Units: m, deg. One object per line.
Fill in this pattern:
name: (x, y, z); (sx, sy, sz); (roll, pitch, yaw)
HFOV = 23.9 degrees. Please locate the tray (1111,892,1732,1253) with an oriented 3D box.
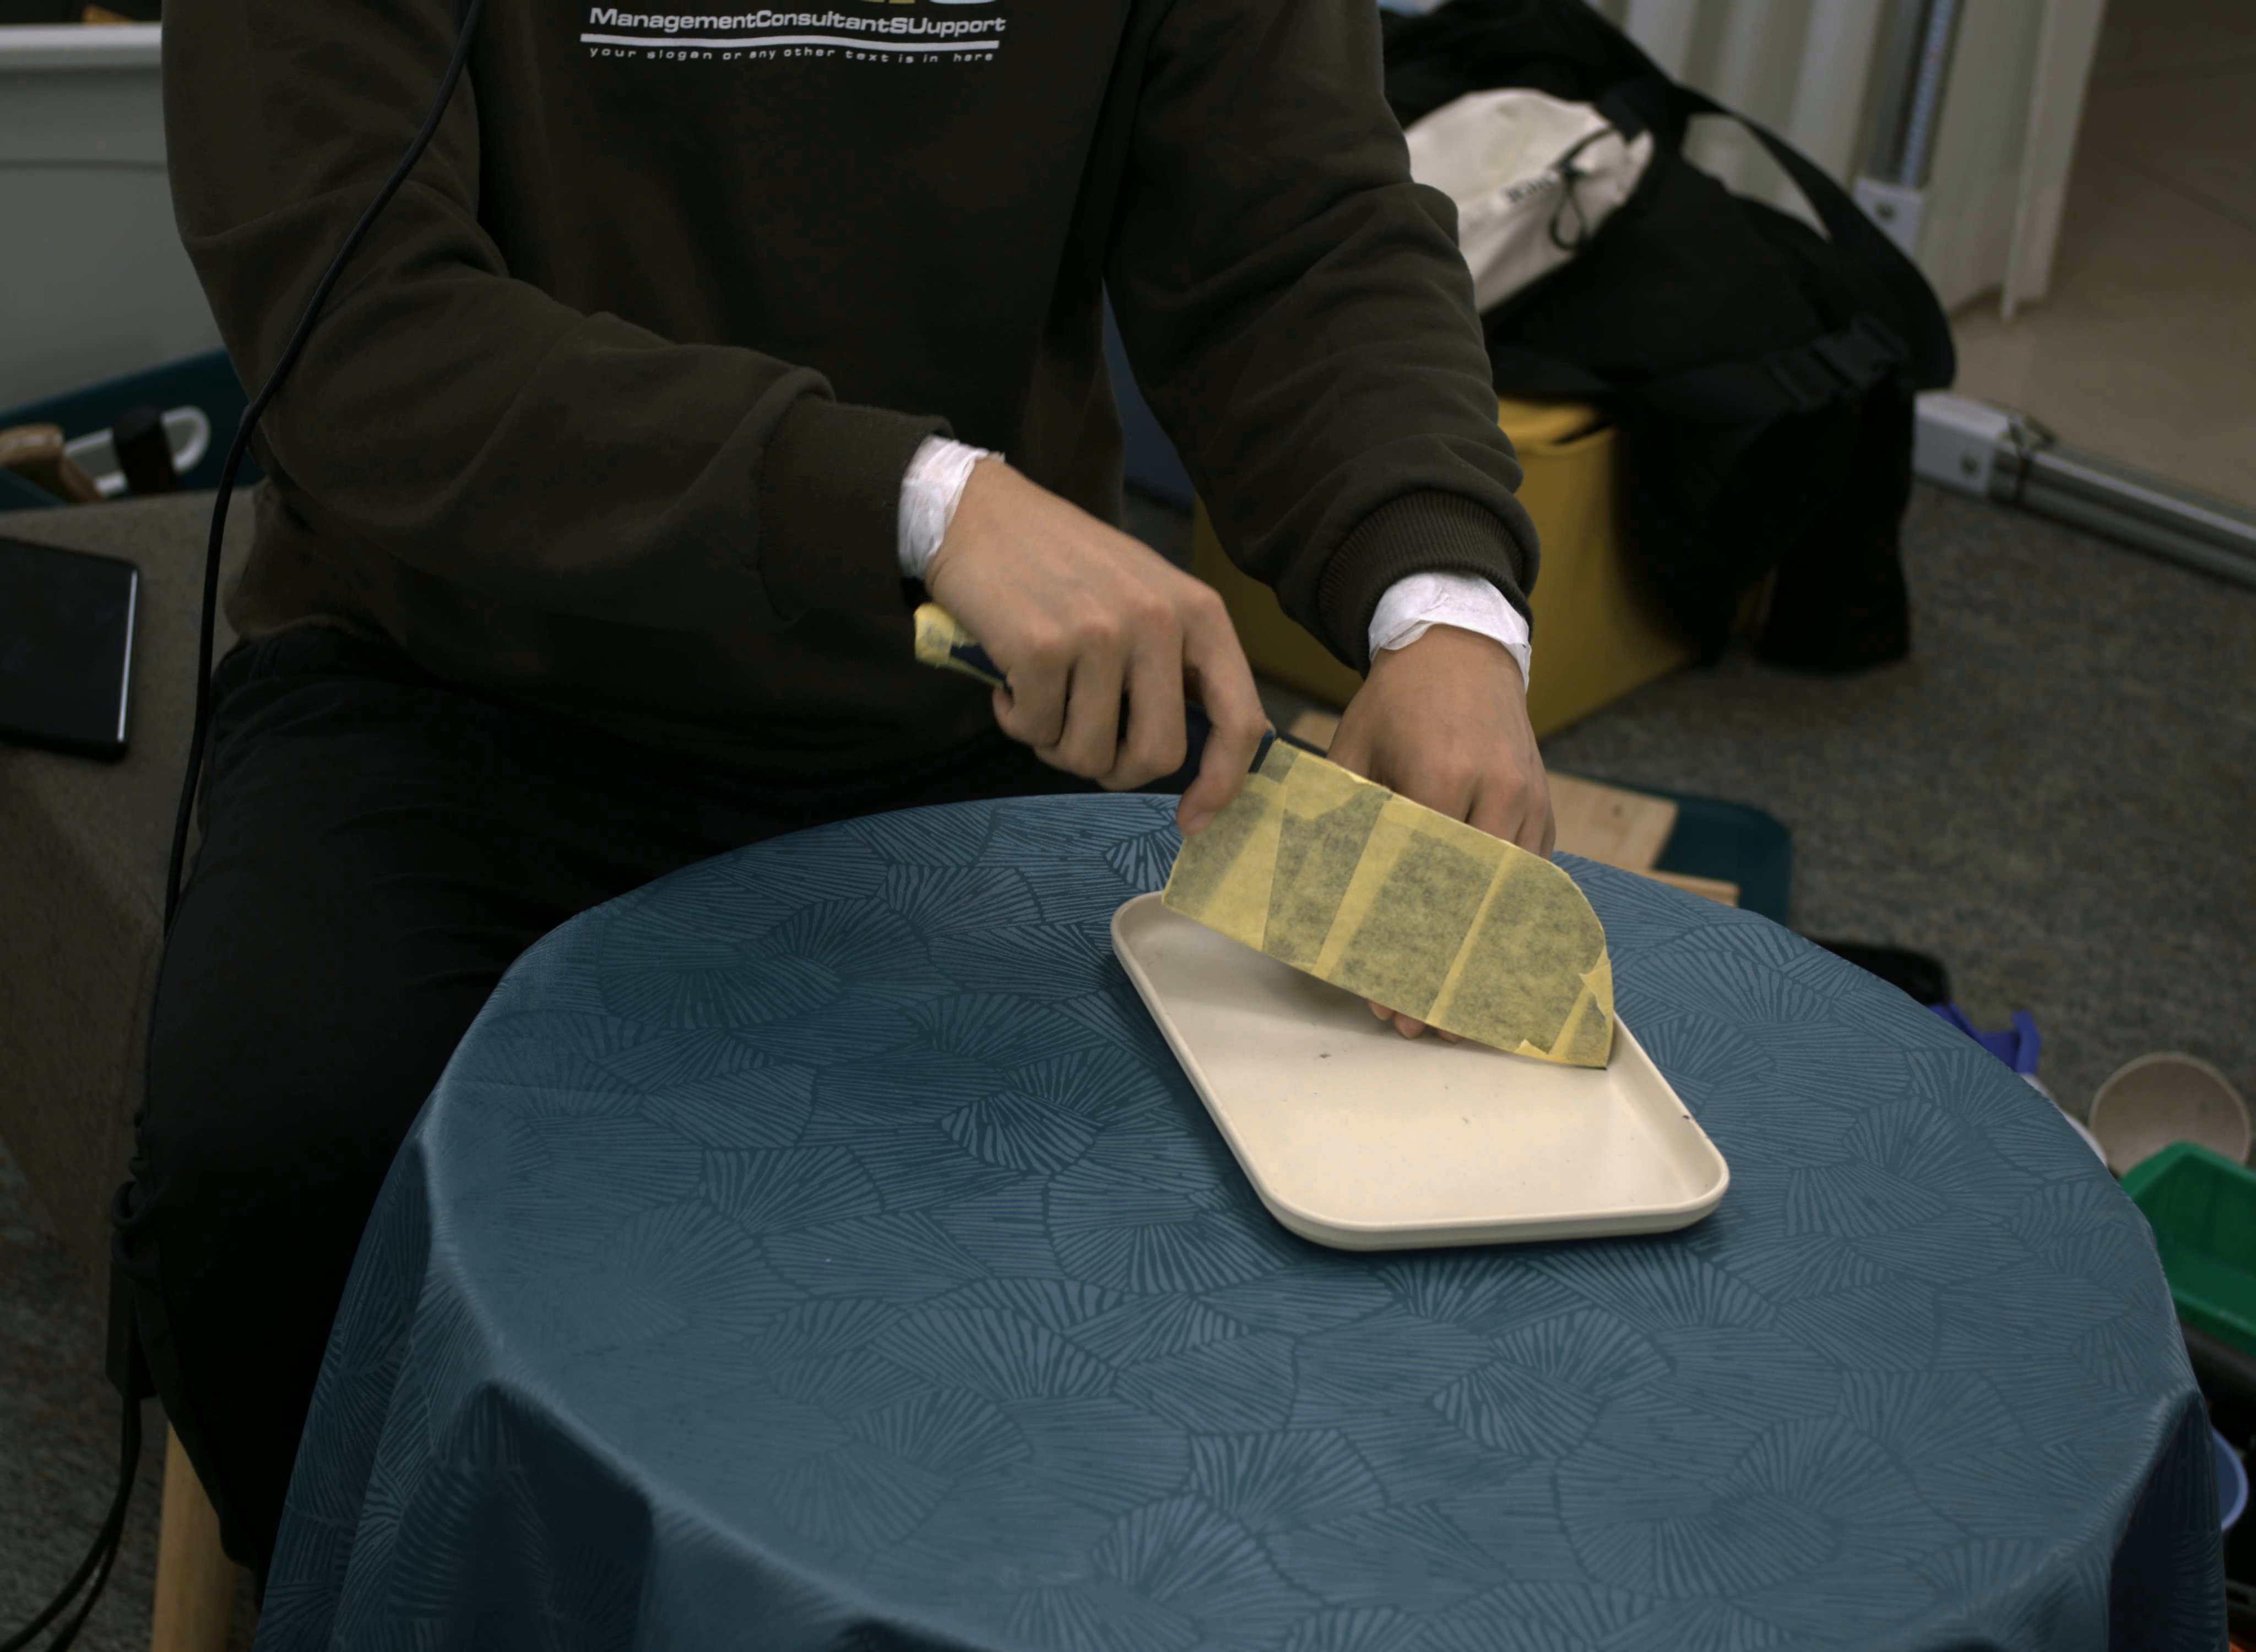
tray: (0.100, 0.083, 1.888); (0.170, 0.017, 0.242); (-3, 28, -17)

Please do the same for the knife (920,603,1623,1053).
knife: (0.048, 0.002, 1.901); (0.289, 0.081, 0.027); (28, 6, -1)
